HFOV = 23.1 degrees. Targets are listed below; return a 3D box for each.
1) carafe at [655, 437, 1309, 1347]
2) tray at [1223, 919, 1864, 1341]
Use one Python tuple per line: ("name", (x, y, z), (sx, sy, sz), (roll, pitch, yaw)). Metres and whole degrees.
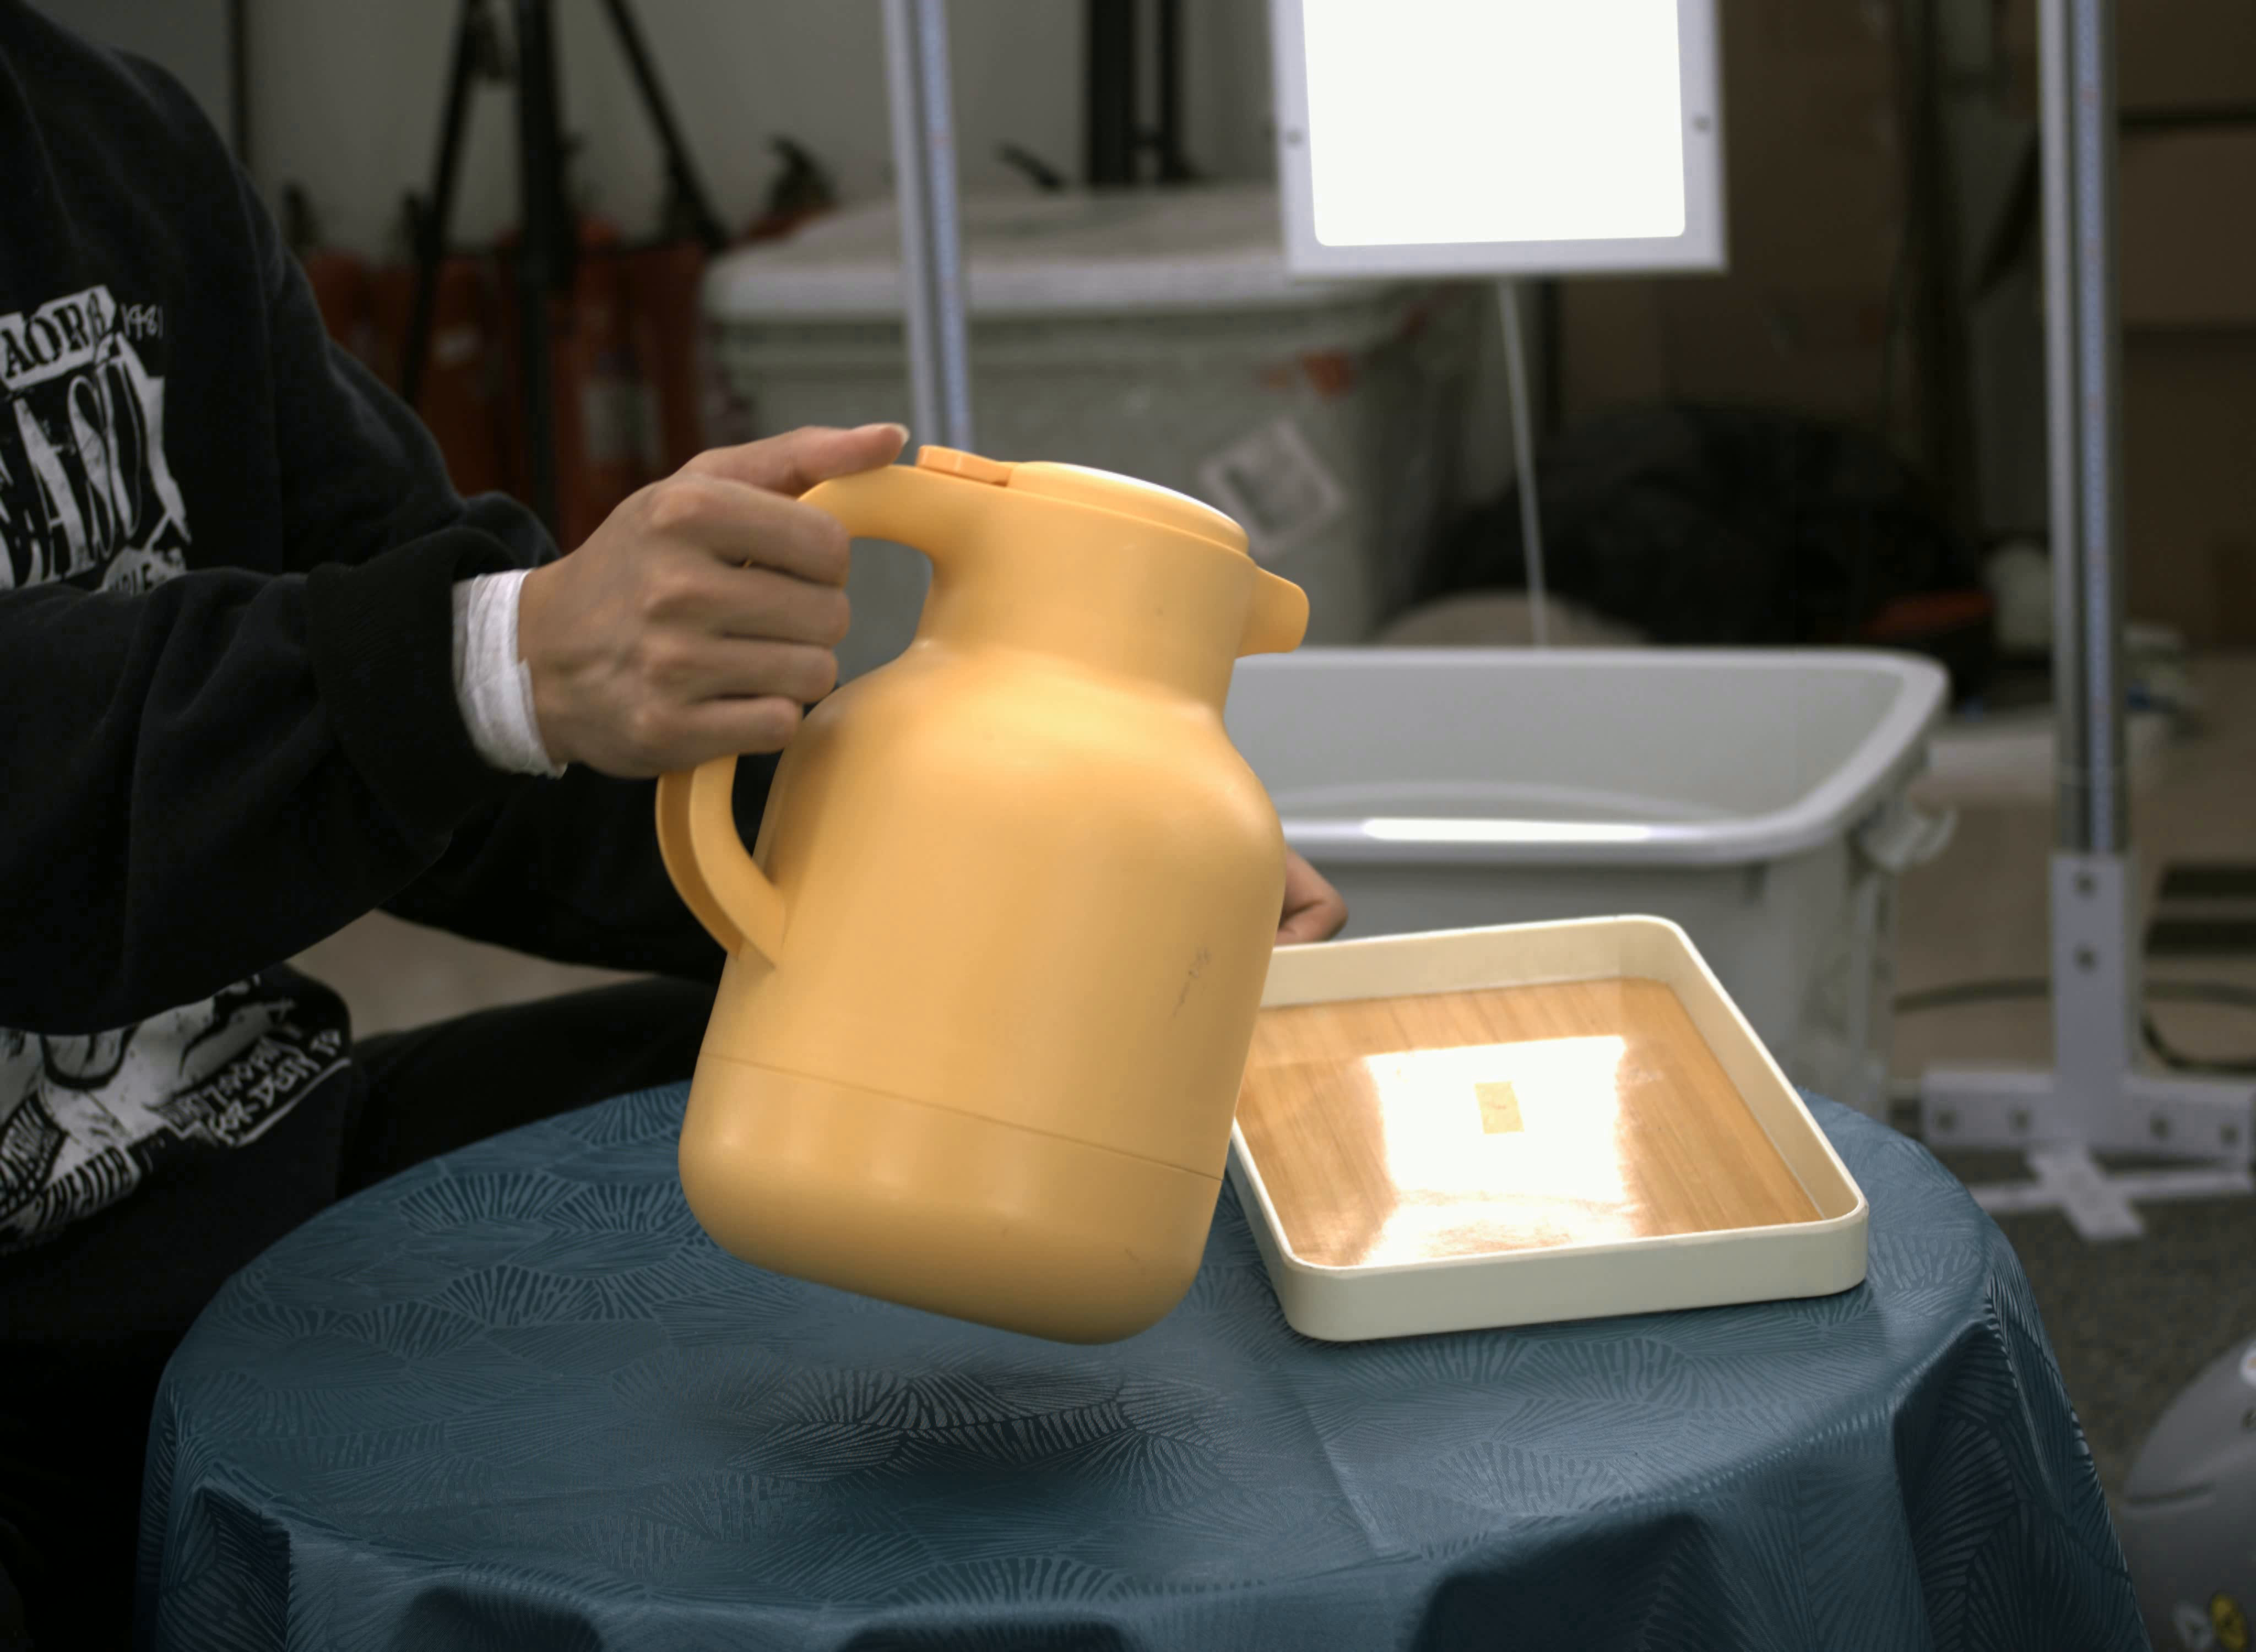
("carafe", (-0.052, 0.014, 1.663), (0.198, 0.260, 0.166), (16, -6, -25))
("tray", (0.125, 0.098, 1.861), (0.190, 0.027, 0.301), (-5, 18, -5))
